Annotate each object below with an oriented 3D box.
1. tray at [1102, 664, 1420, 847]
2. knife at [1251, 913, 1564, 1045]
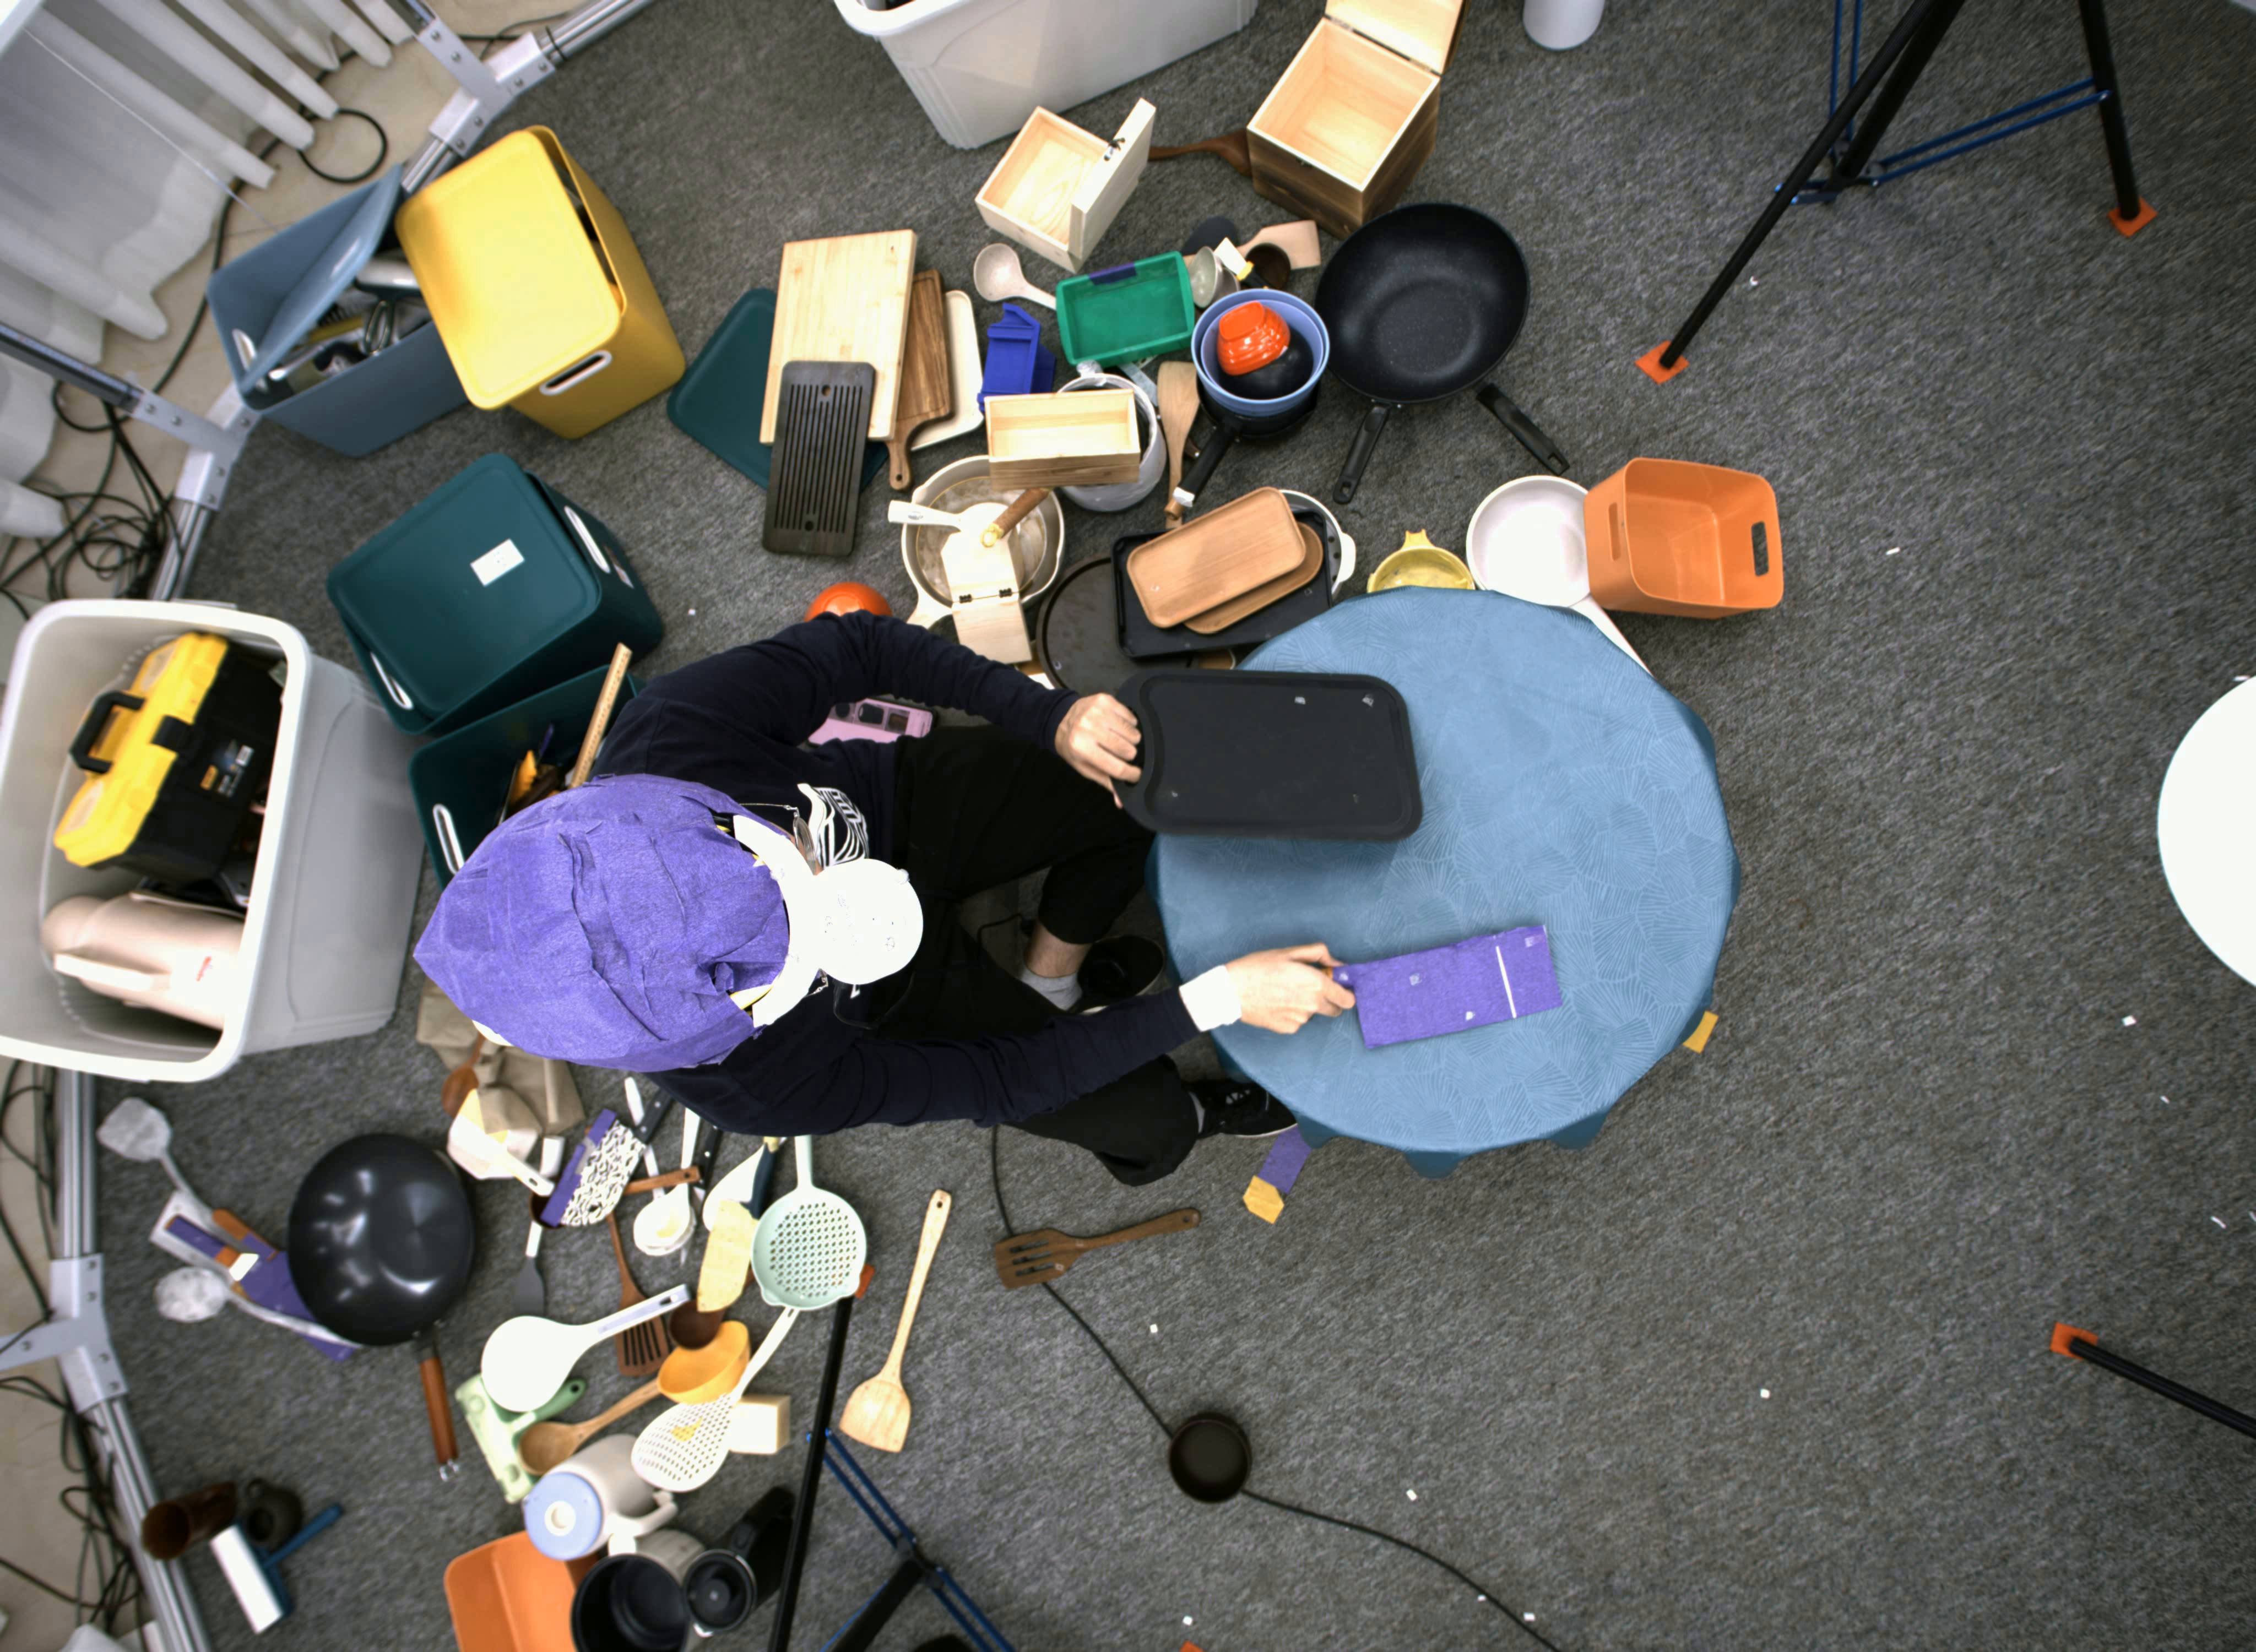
[{"bbox_3d":[0.136,-0.076,1.414,0.325,0.010,0.206,2,63,-6],"label":"tray"},{"bbox_3d":[0.289,0.172,1.426,0.317,0.032,0.104,-13,95,8],"label":"knife"}]
